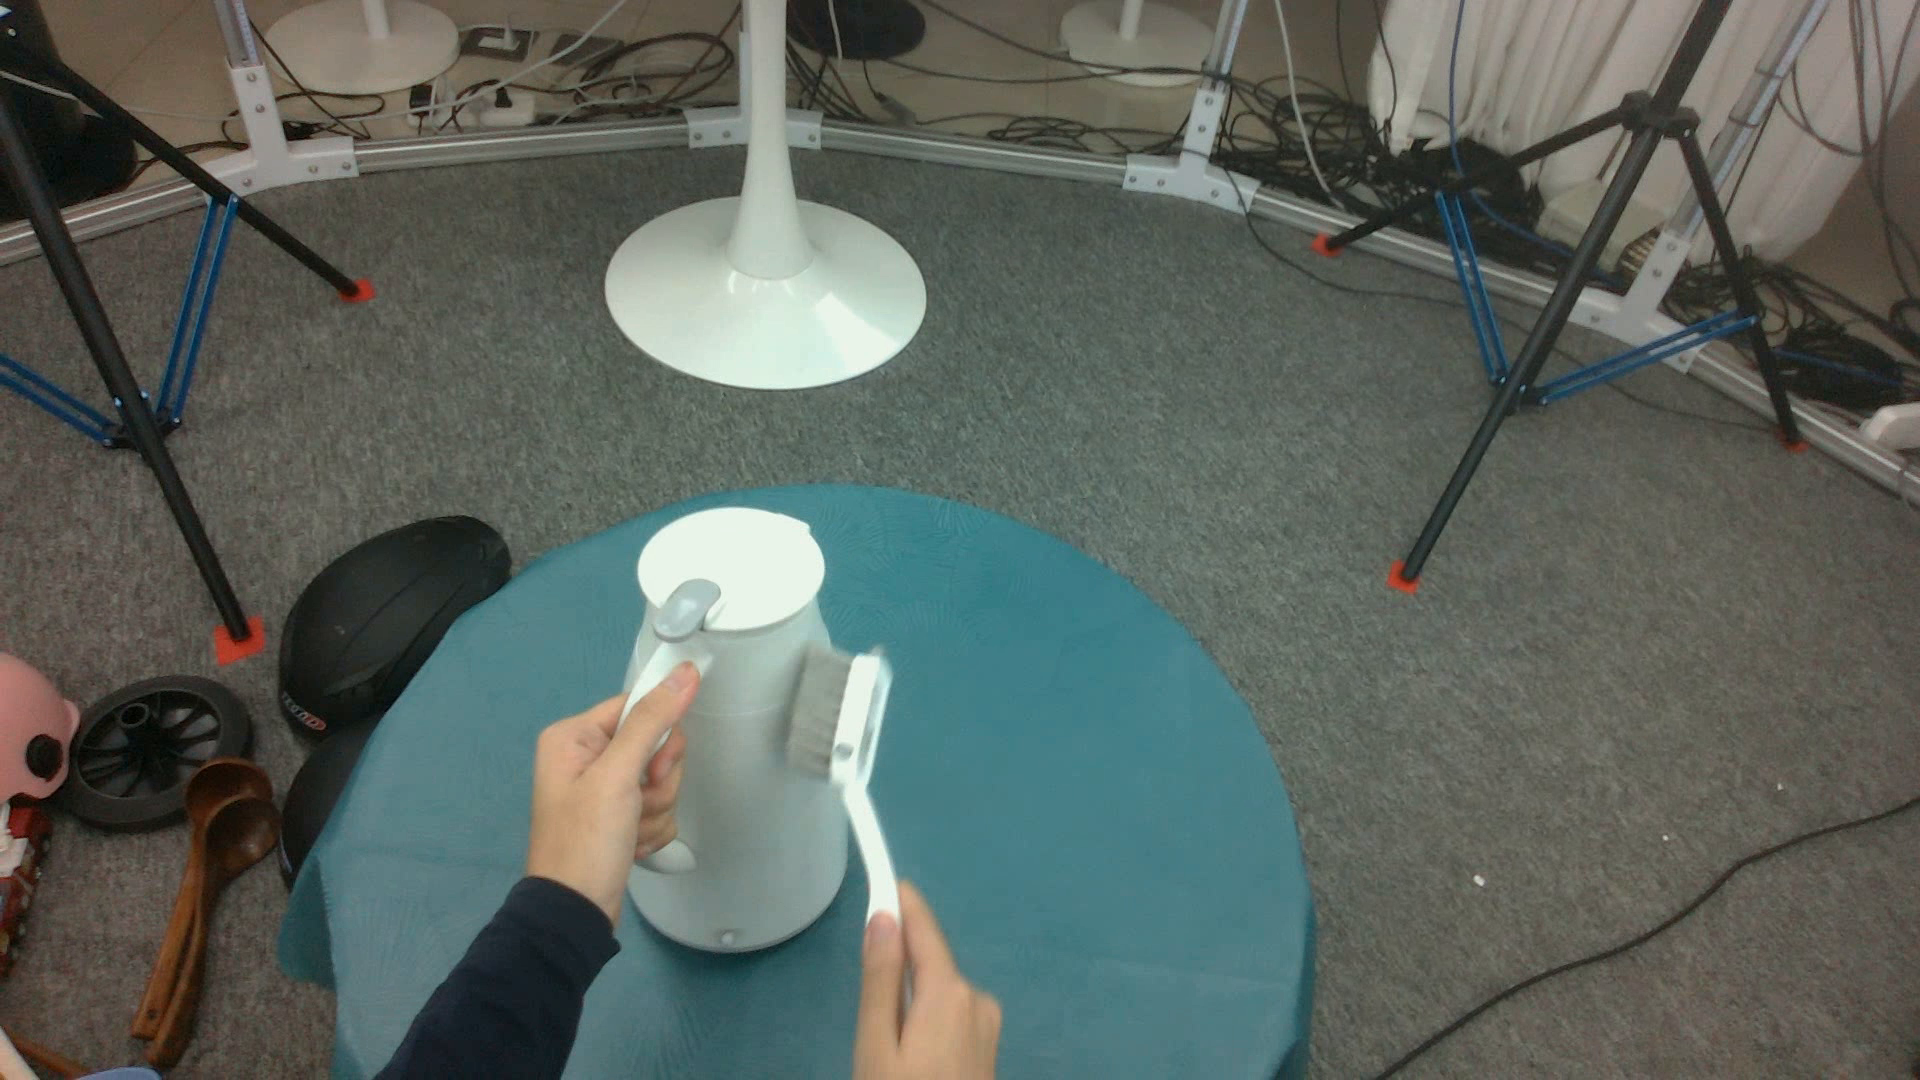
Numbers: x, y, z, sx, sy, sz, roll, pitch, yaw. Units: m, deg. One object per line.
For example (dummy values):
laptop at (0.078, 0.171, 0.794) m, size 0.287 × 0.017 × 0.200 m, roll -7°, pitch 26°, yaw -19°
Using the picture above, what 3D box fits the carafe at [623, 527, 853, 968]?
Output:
carafe at (-0.126, 0.123, 0.755) m, size 0.132 × 0.247 × 0.168 m, roll 19°, pitch 41°, yaw 13°

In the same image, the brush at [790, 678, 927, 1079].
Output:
brush at (-0.050, 0.184, 0.657) m, size 0.050 × 0.034 × 0.244 m, roll -9°, pitch 69°, yaw 1°
